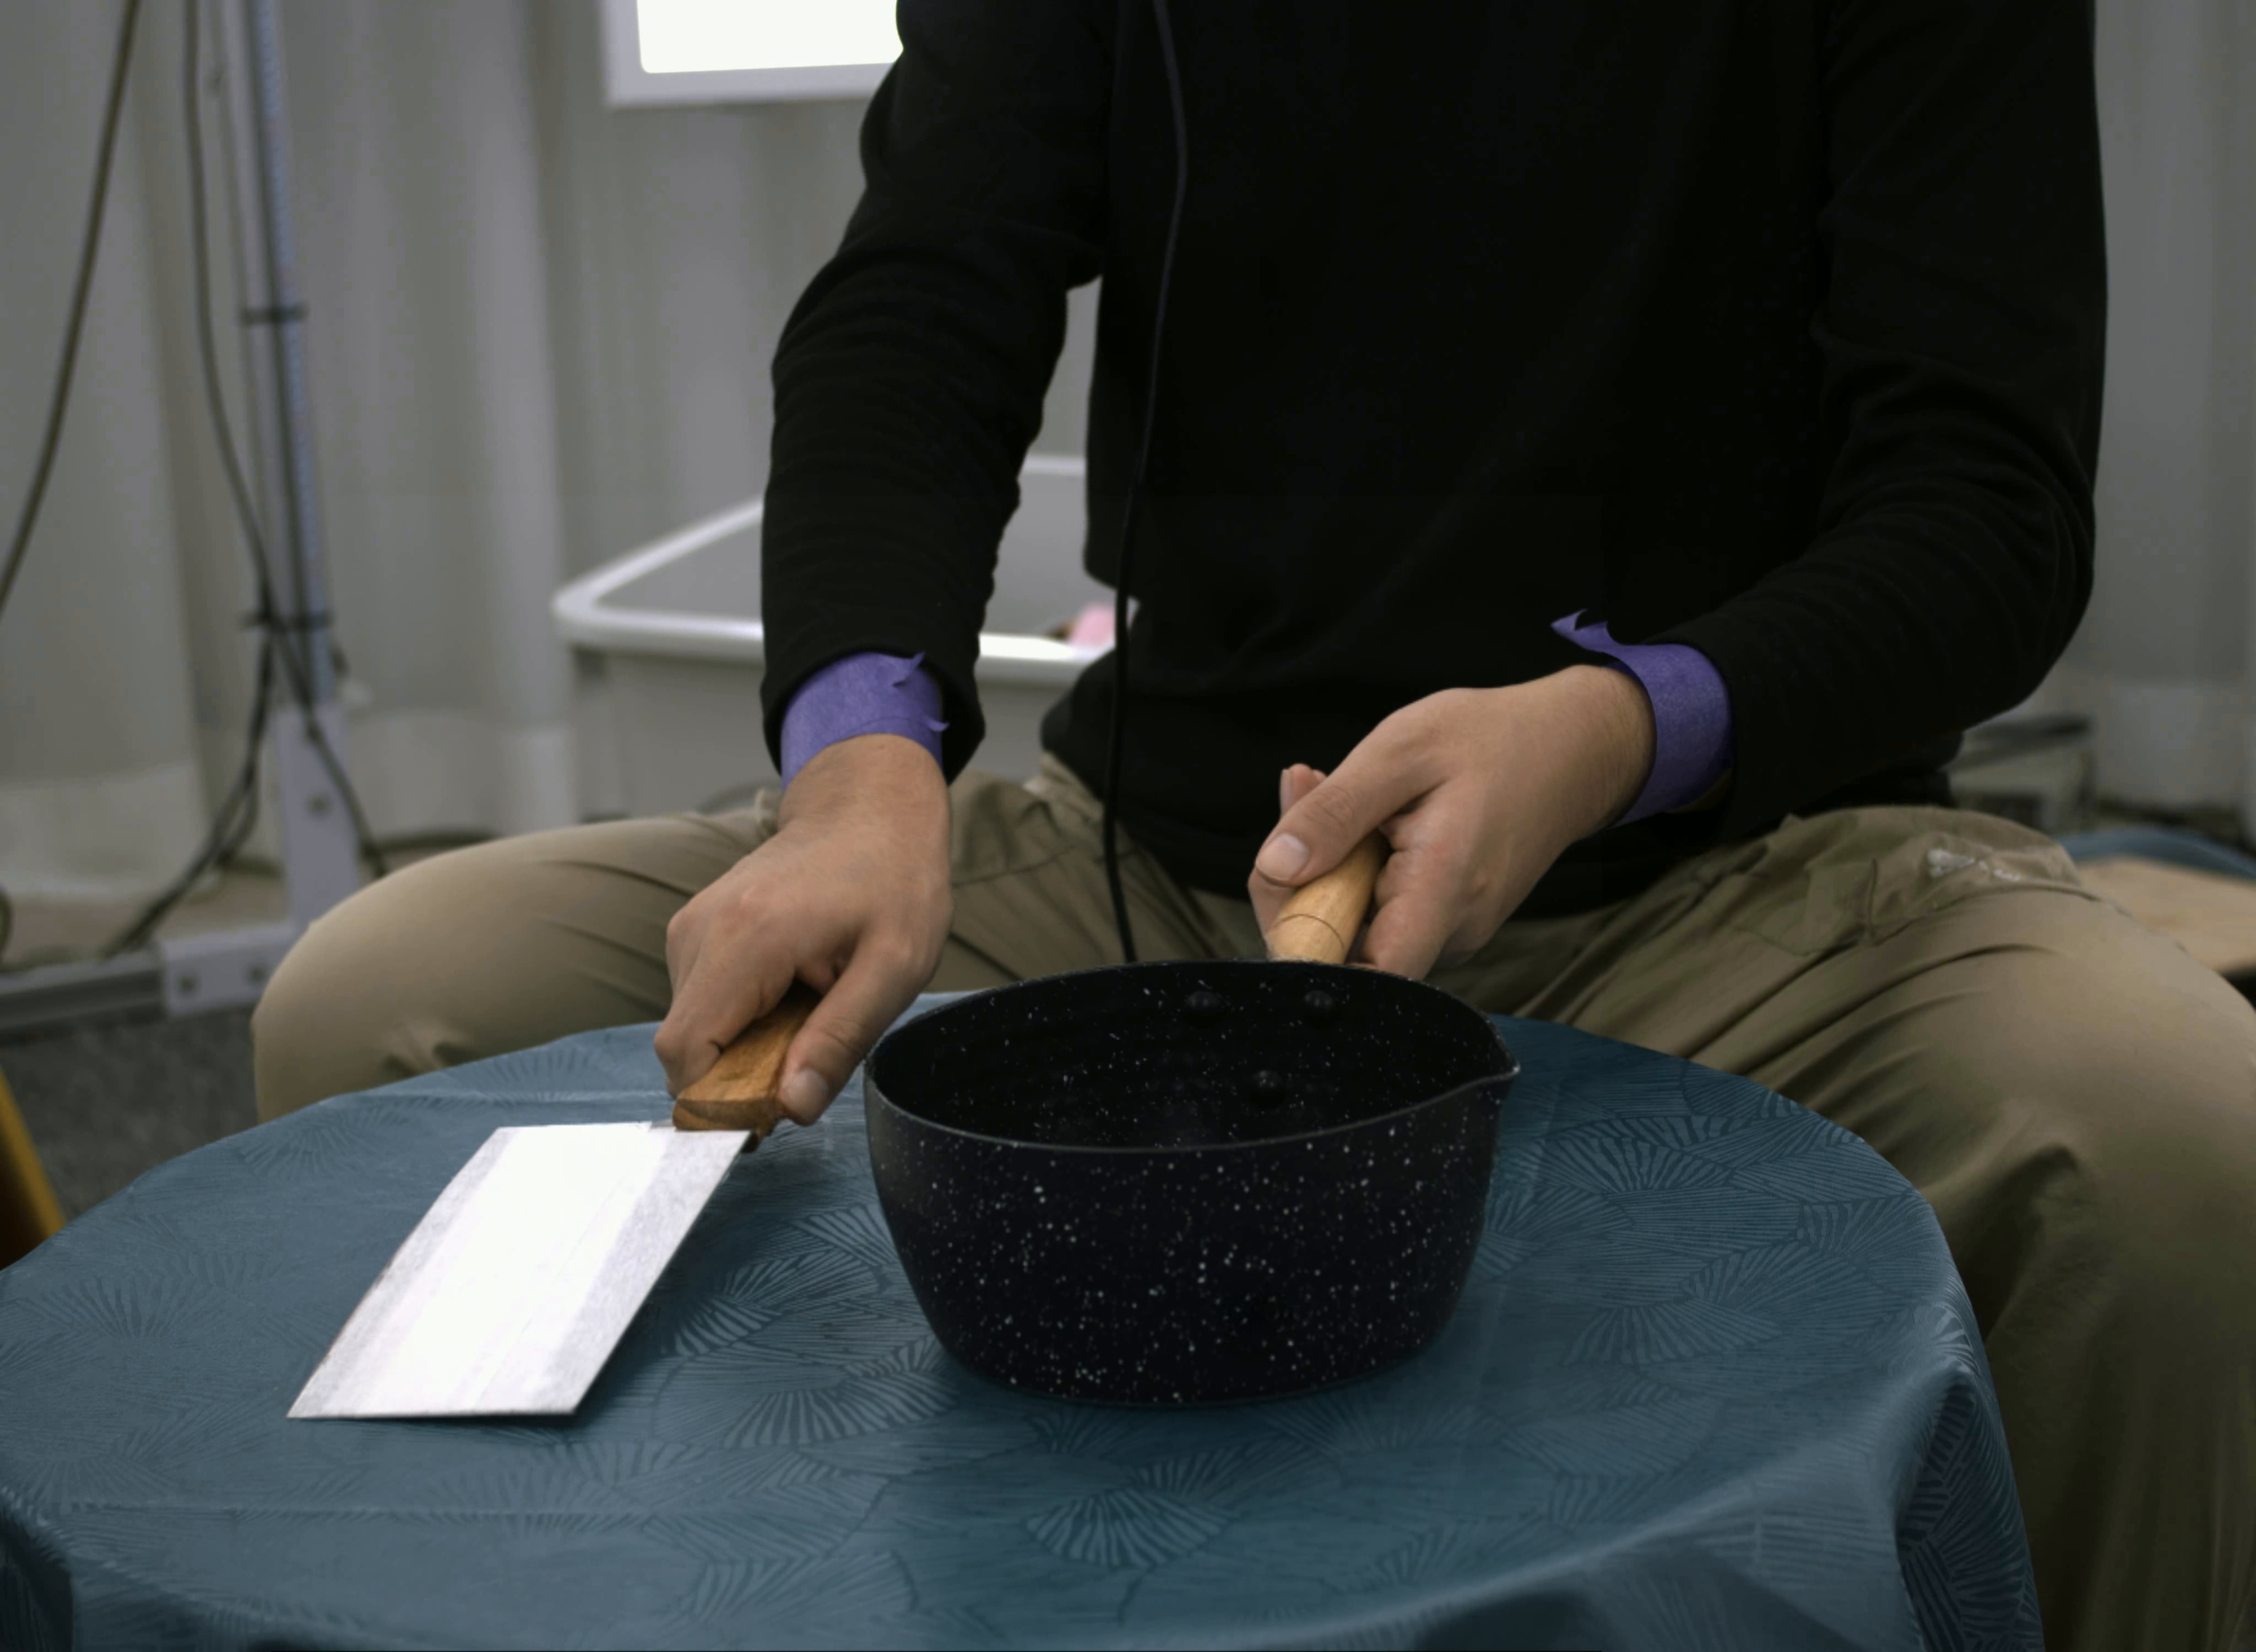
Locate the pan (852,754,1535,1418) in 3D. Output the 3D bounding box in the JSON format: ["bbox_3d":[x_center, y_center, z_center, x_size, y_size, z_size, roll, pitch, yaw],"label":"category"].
[{"bbox_3d":[0.038,0.074,1.658,0.207,0.108,0.344,1,16,16],"label":"pan"}]

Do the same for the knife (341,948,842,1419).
[{"bbox_3d":[-0.164,0.108,1.681,0.093,0.021,0.308,-5,21,15],"label":"knife"}]
